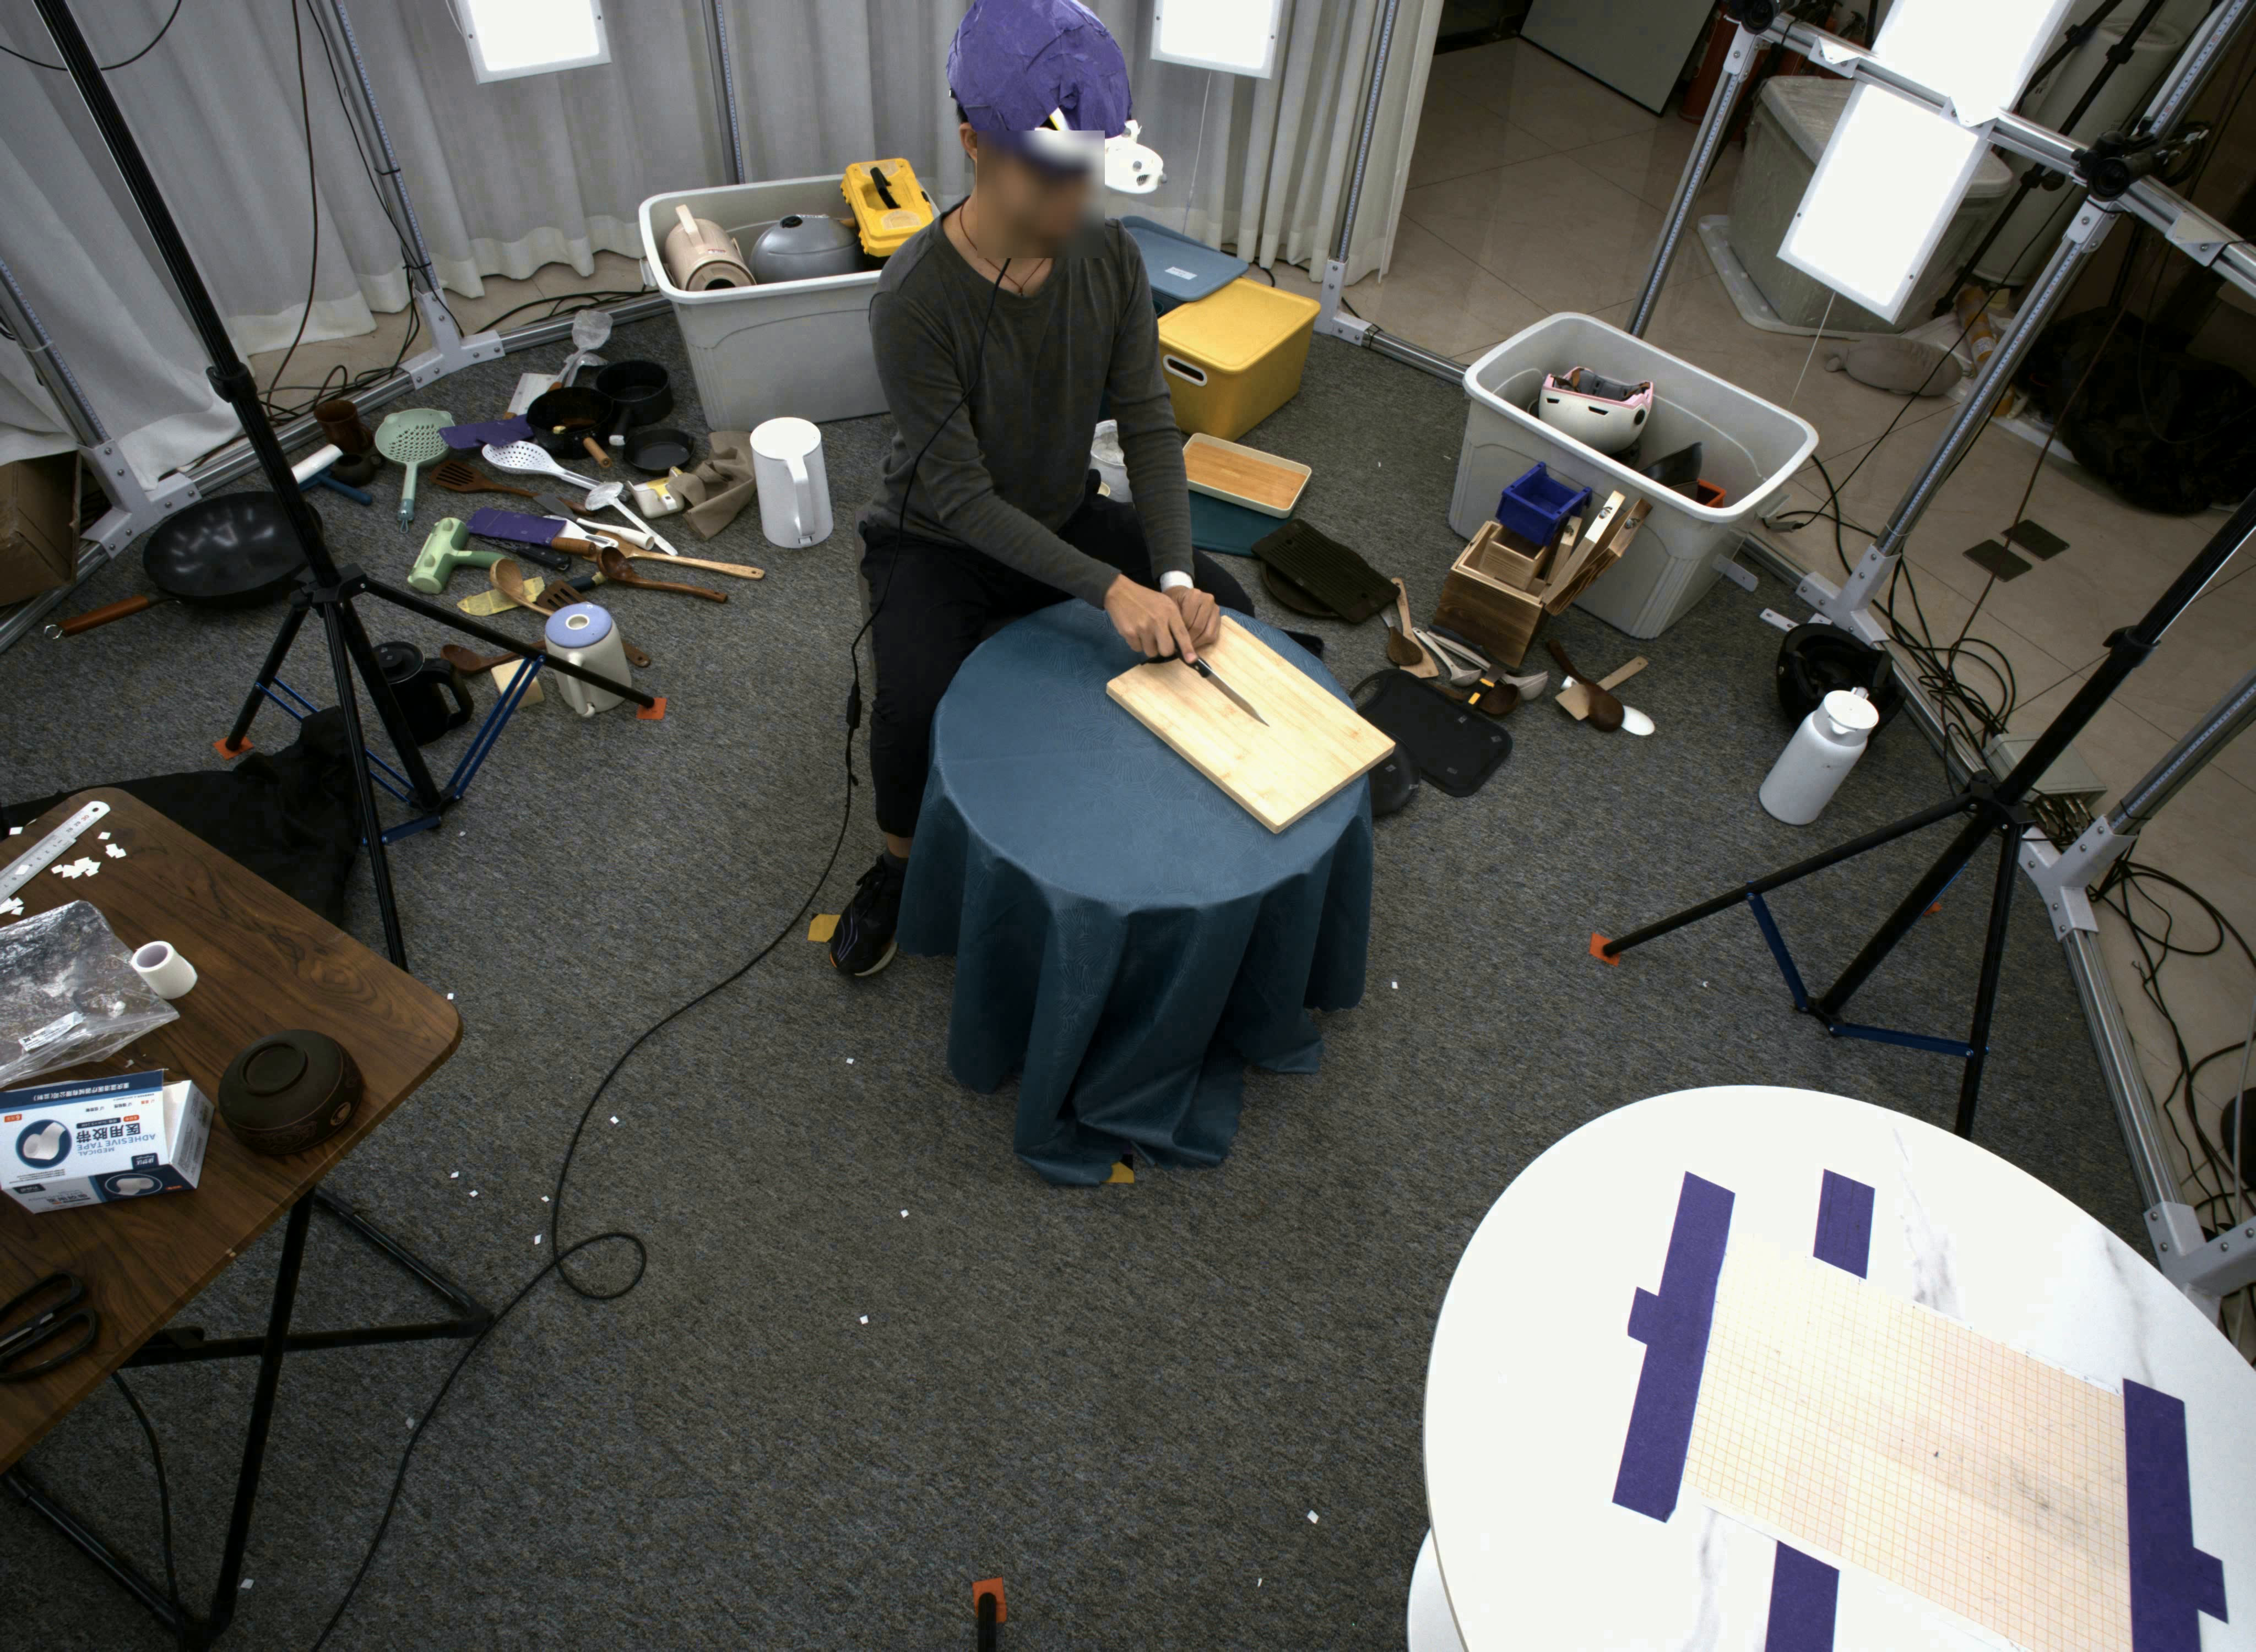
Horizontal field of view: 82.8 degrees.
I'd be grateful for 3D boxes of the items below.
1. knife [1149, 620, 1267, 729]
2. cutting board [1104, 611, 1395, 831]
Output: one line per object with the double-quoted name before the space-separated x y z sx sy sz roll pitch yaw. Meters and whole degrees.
"knife" 0.112 -0.211 1.774 0.016 0.024 0.242 -28 61 -31
"cutting board" 0.167 -0.156 1.804 0.252 0.023 0.354 -33 59 -28
